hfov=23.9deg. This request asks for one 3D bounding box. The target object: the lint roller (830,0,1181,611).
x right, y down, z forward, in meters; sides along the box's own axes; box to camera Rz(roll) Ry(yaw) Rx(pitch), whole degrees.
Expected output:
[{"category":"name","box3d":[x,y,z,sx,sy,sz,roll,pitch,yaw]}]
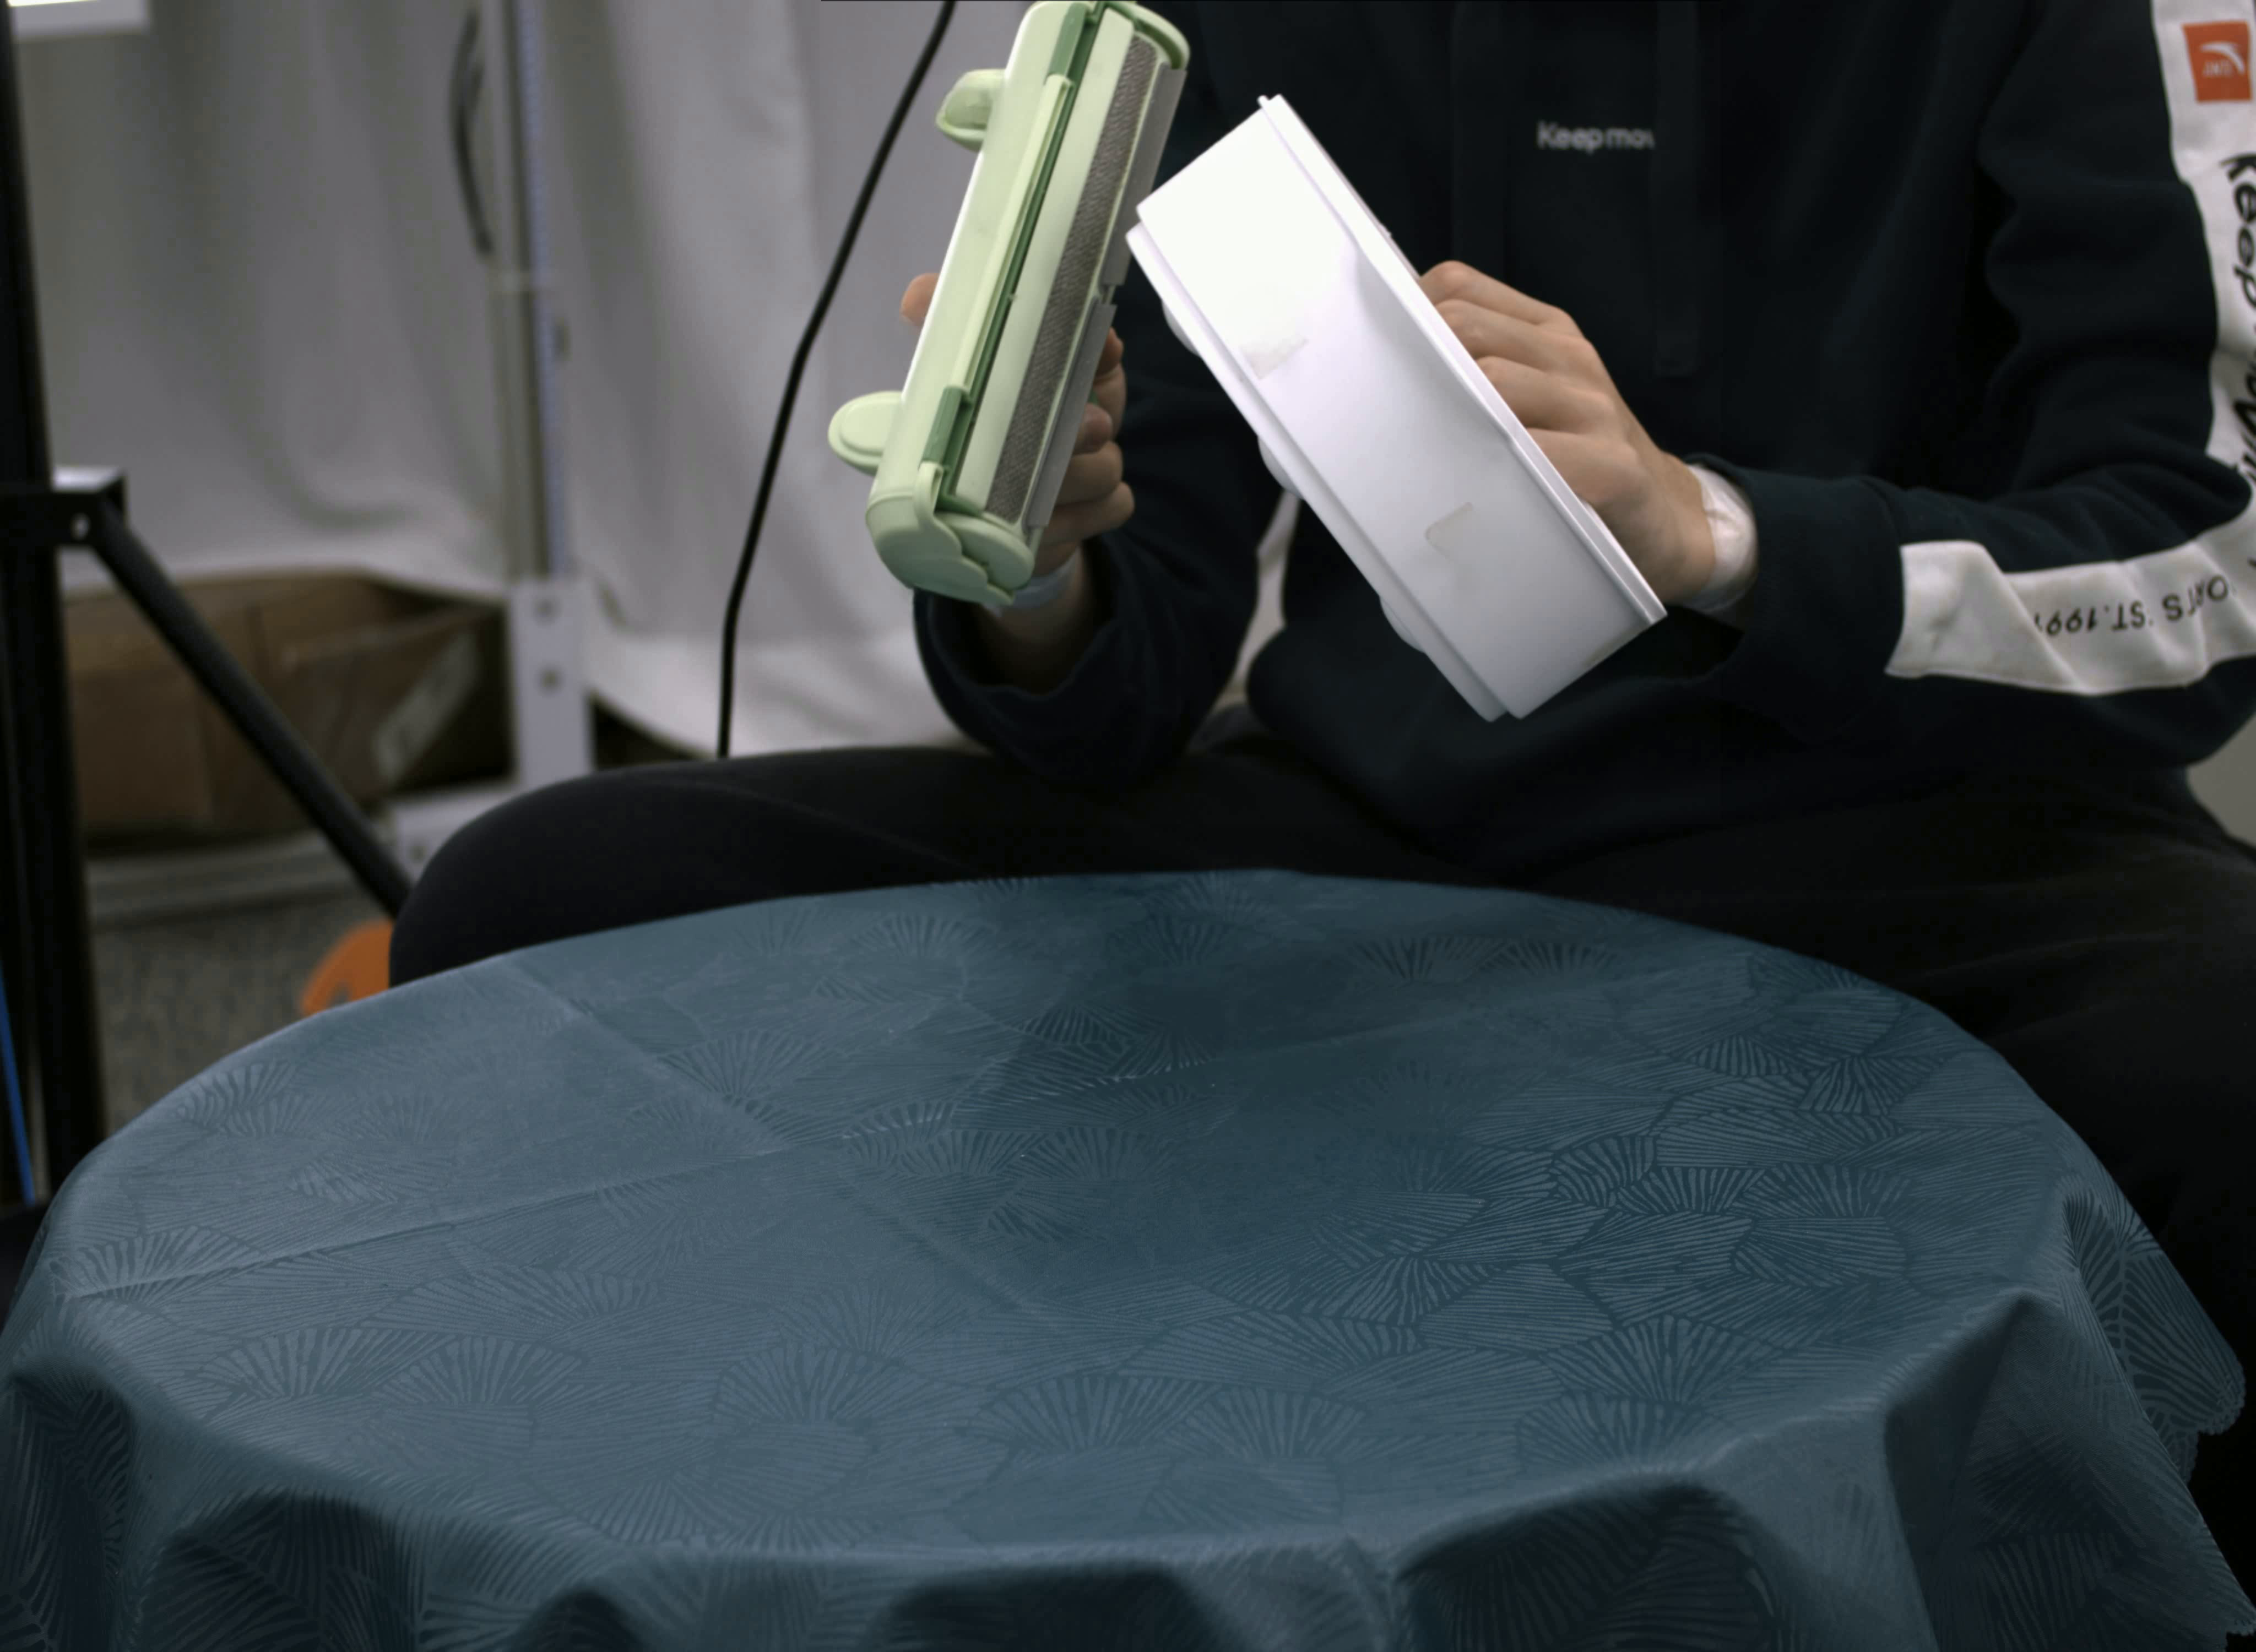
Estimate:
[{"category":"lint roller","box3d":[-0.043,-0.149,1.696,0.082,0.199,0.183,16,-20,-1]}]

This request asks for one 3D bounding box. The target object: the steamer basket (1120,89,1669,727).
[{"category":"steamer basket","box3d":[0.078,-0.121,1.593,0.069,0.203,0.229,-37,-5,8]}]
